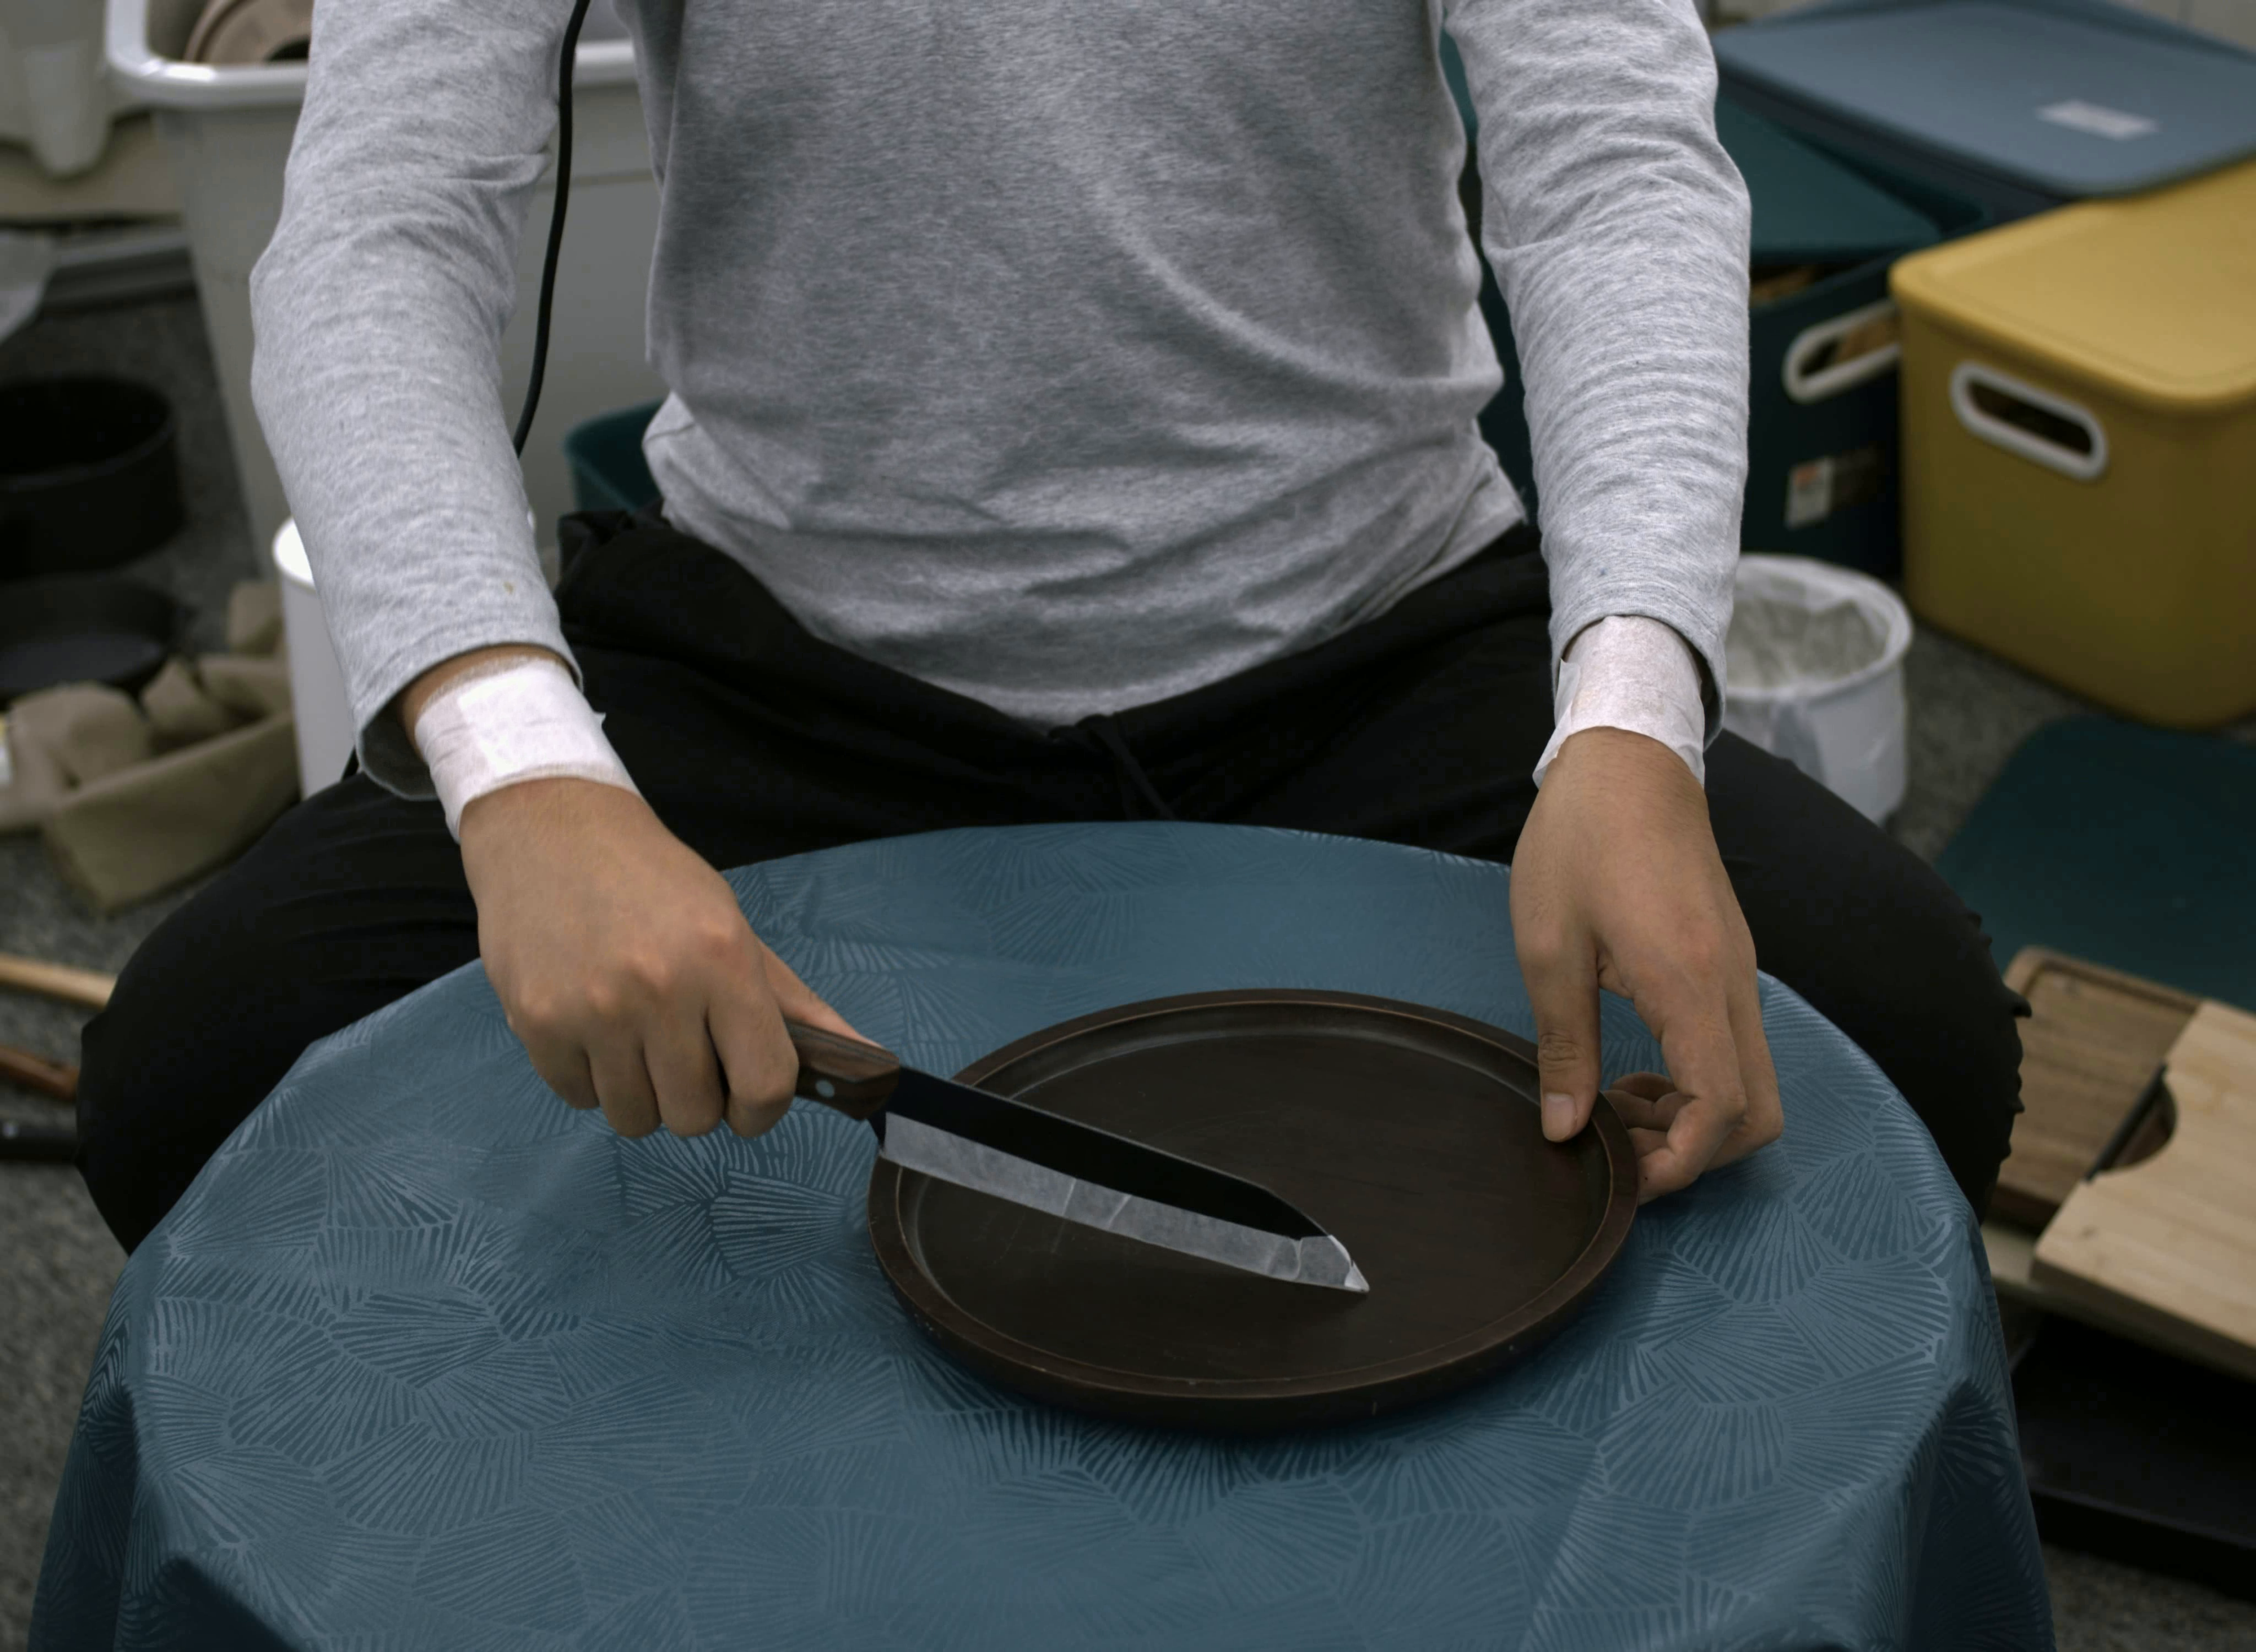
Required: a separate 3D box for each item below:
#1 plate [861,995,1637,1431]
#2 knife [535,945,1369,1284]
[{"bbox_3d":[0.040,0.123,1.827,0.253,0.029,0.258,-4,26,2],"label":"plate"},{"bbox_3d":[-0.057,0.094,1.797,0.288,0.049,0.020,20,45,10],"label":"knife"}]
